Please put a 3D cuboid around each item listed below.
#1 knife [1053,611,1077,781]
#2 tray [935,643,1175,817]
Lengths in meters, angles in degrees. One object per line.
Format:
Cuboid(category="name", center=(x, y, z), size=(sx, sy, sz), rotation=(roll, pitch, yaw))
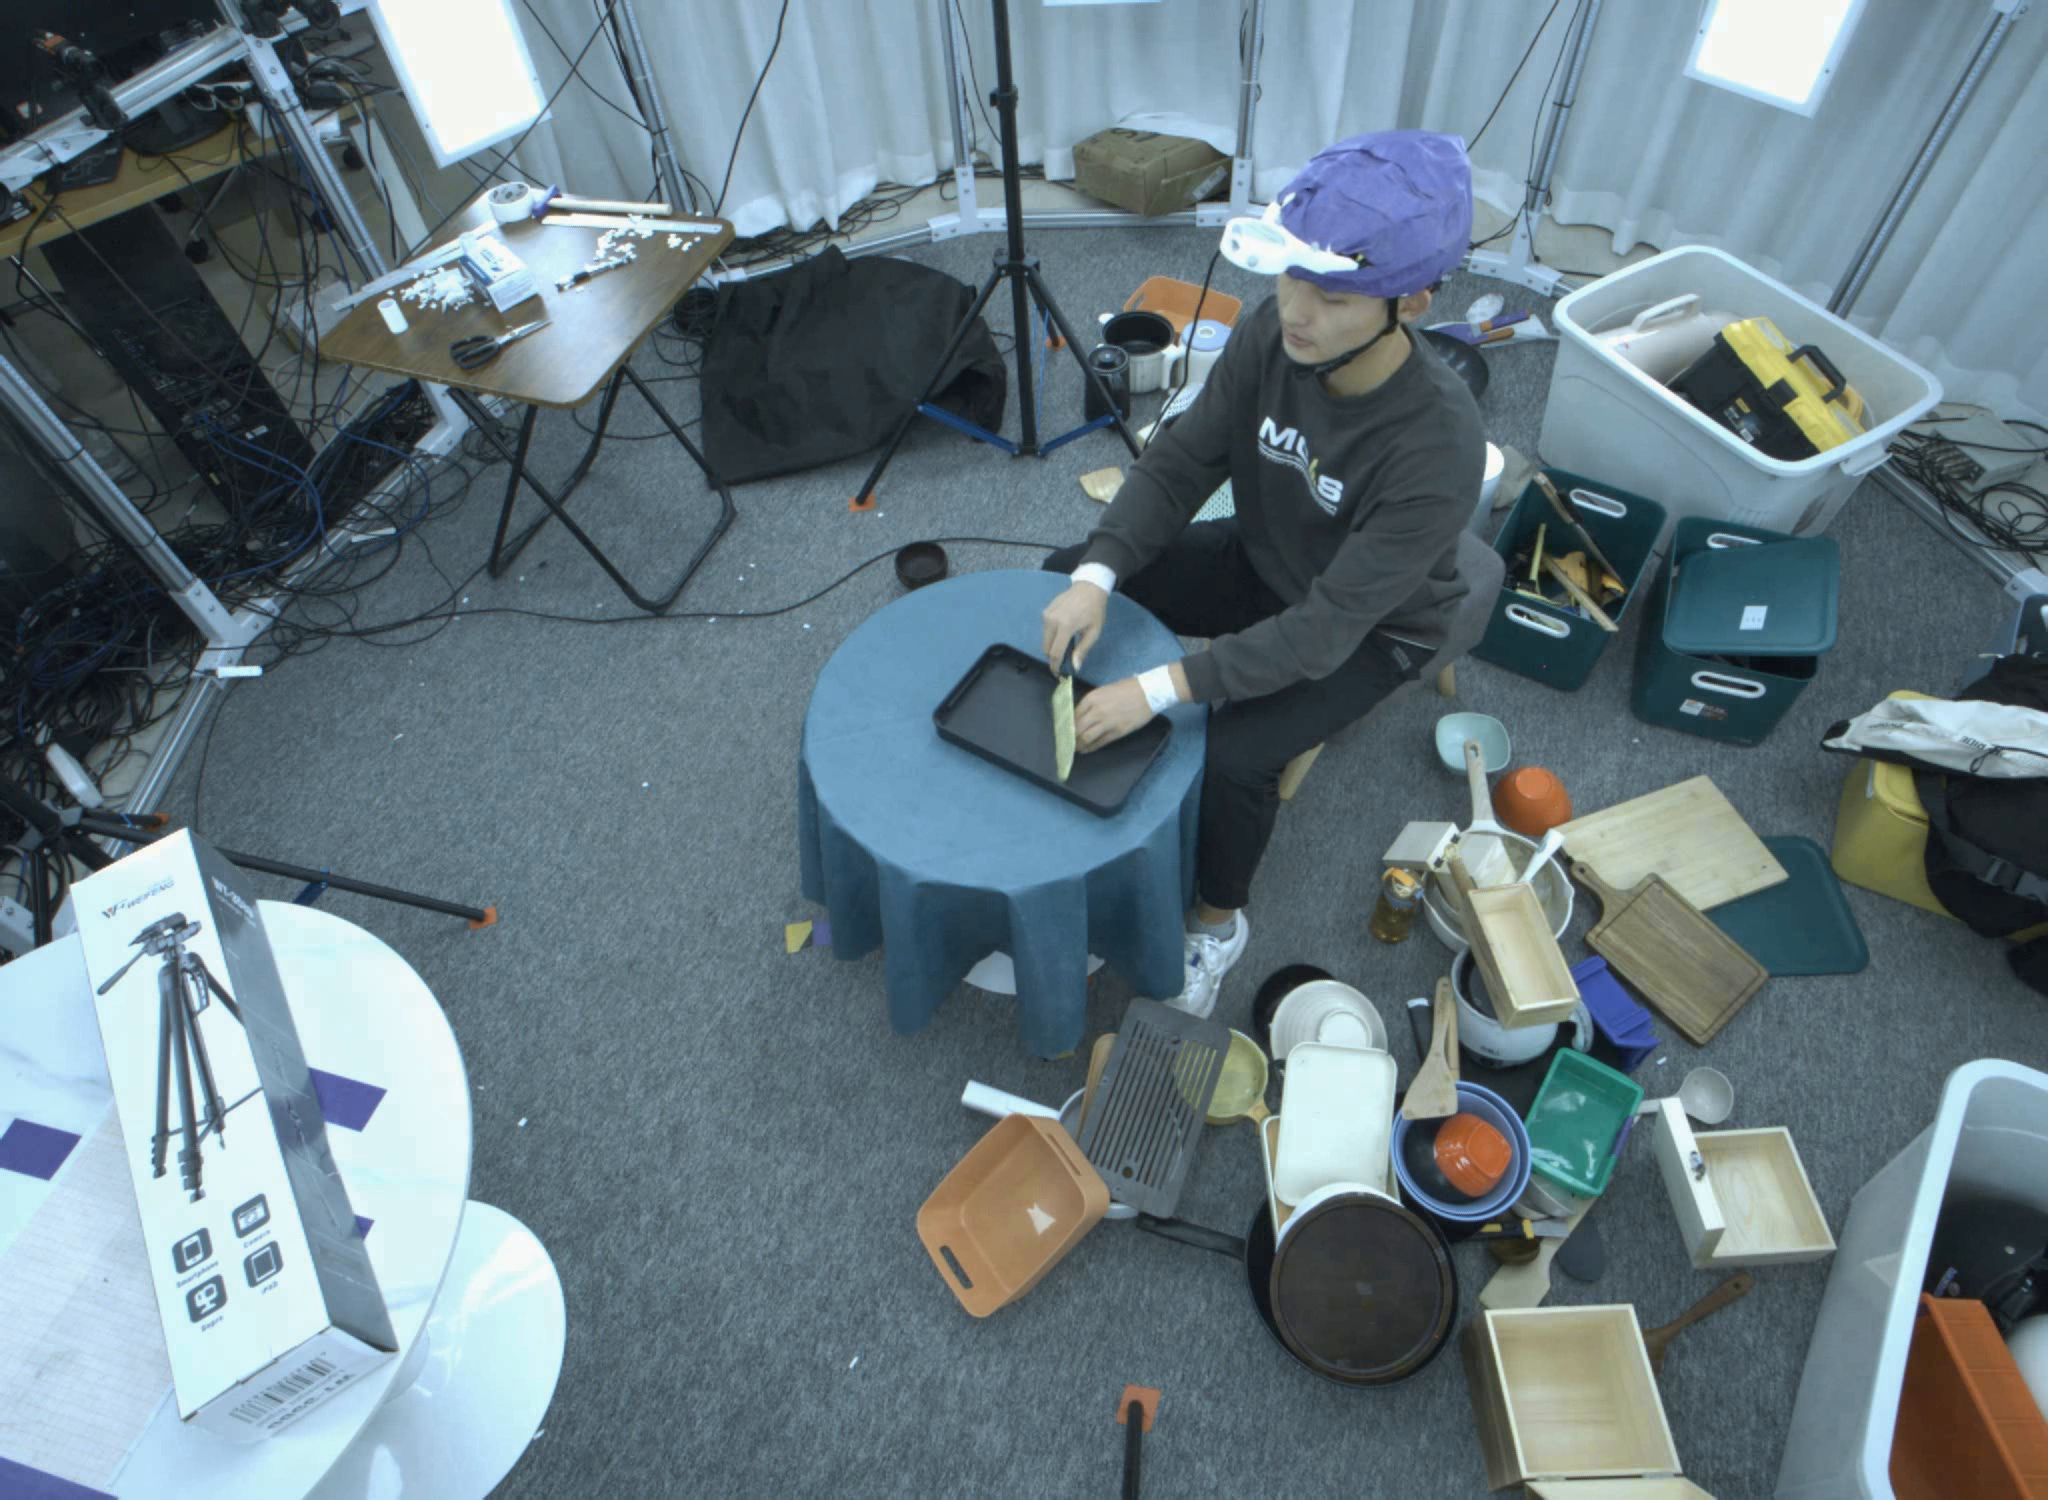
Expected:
Cuboid(category="knife", center=(0.058, -0.080, 1.795), size=(0.027, 0.080, 0.287), rotation=(12, 58, -17))
Cuboid(category="tray", center=(0.044, -0.033, 1.794), size=(0.313, 0.037, 0.185), rotation=(25, 59, 18))
